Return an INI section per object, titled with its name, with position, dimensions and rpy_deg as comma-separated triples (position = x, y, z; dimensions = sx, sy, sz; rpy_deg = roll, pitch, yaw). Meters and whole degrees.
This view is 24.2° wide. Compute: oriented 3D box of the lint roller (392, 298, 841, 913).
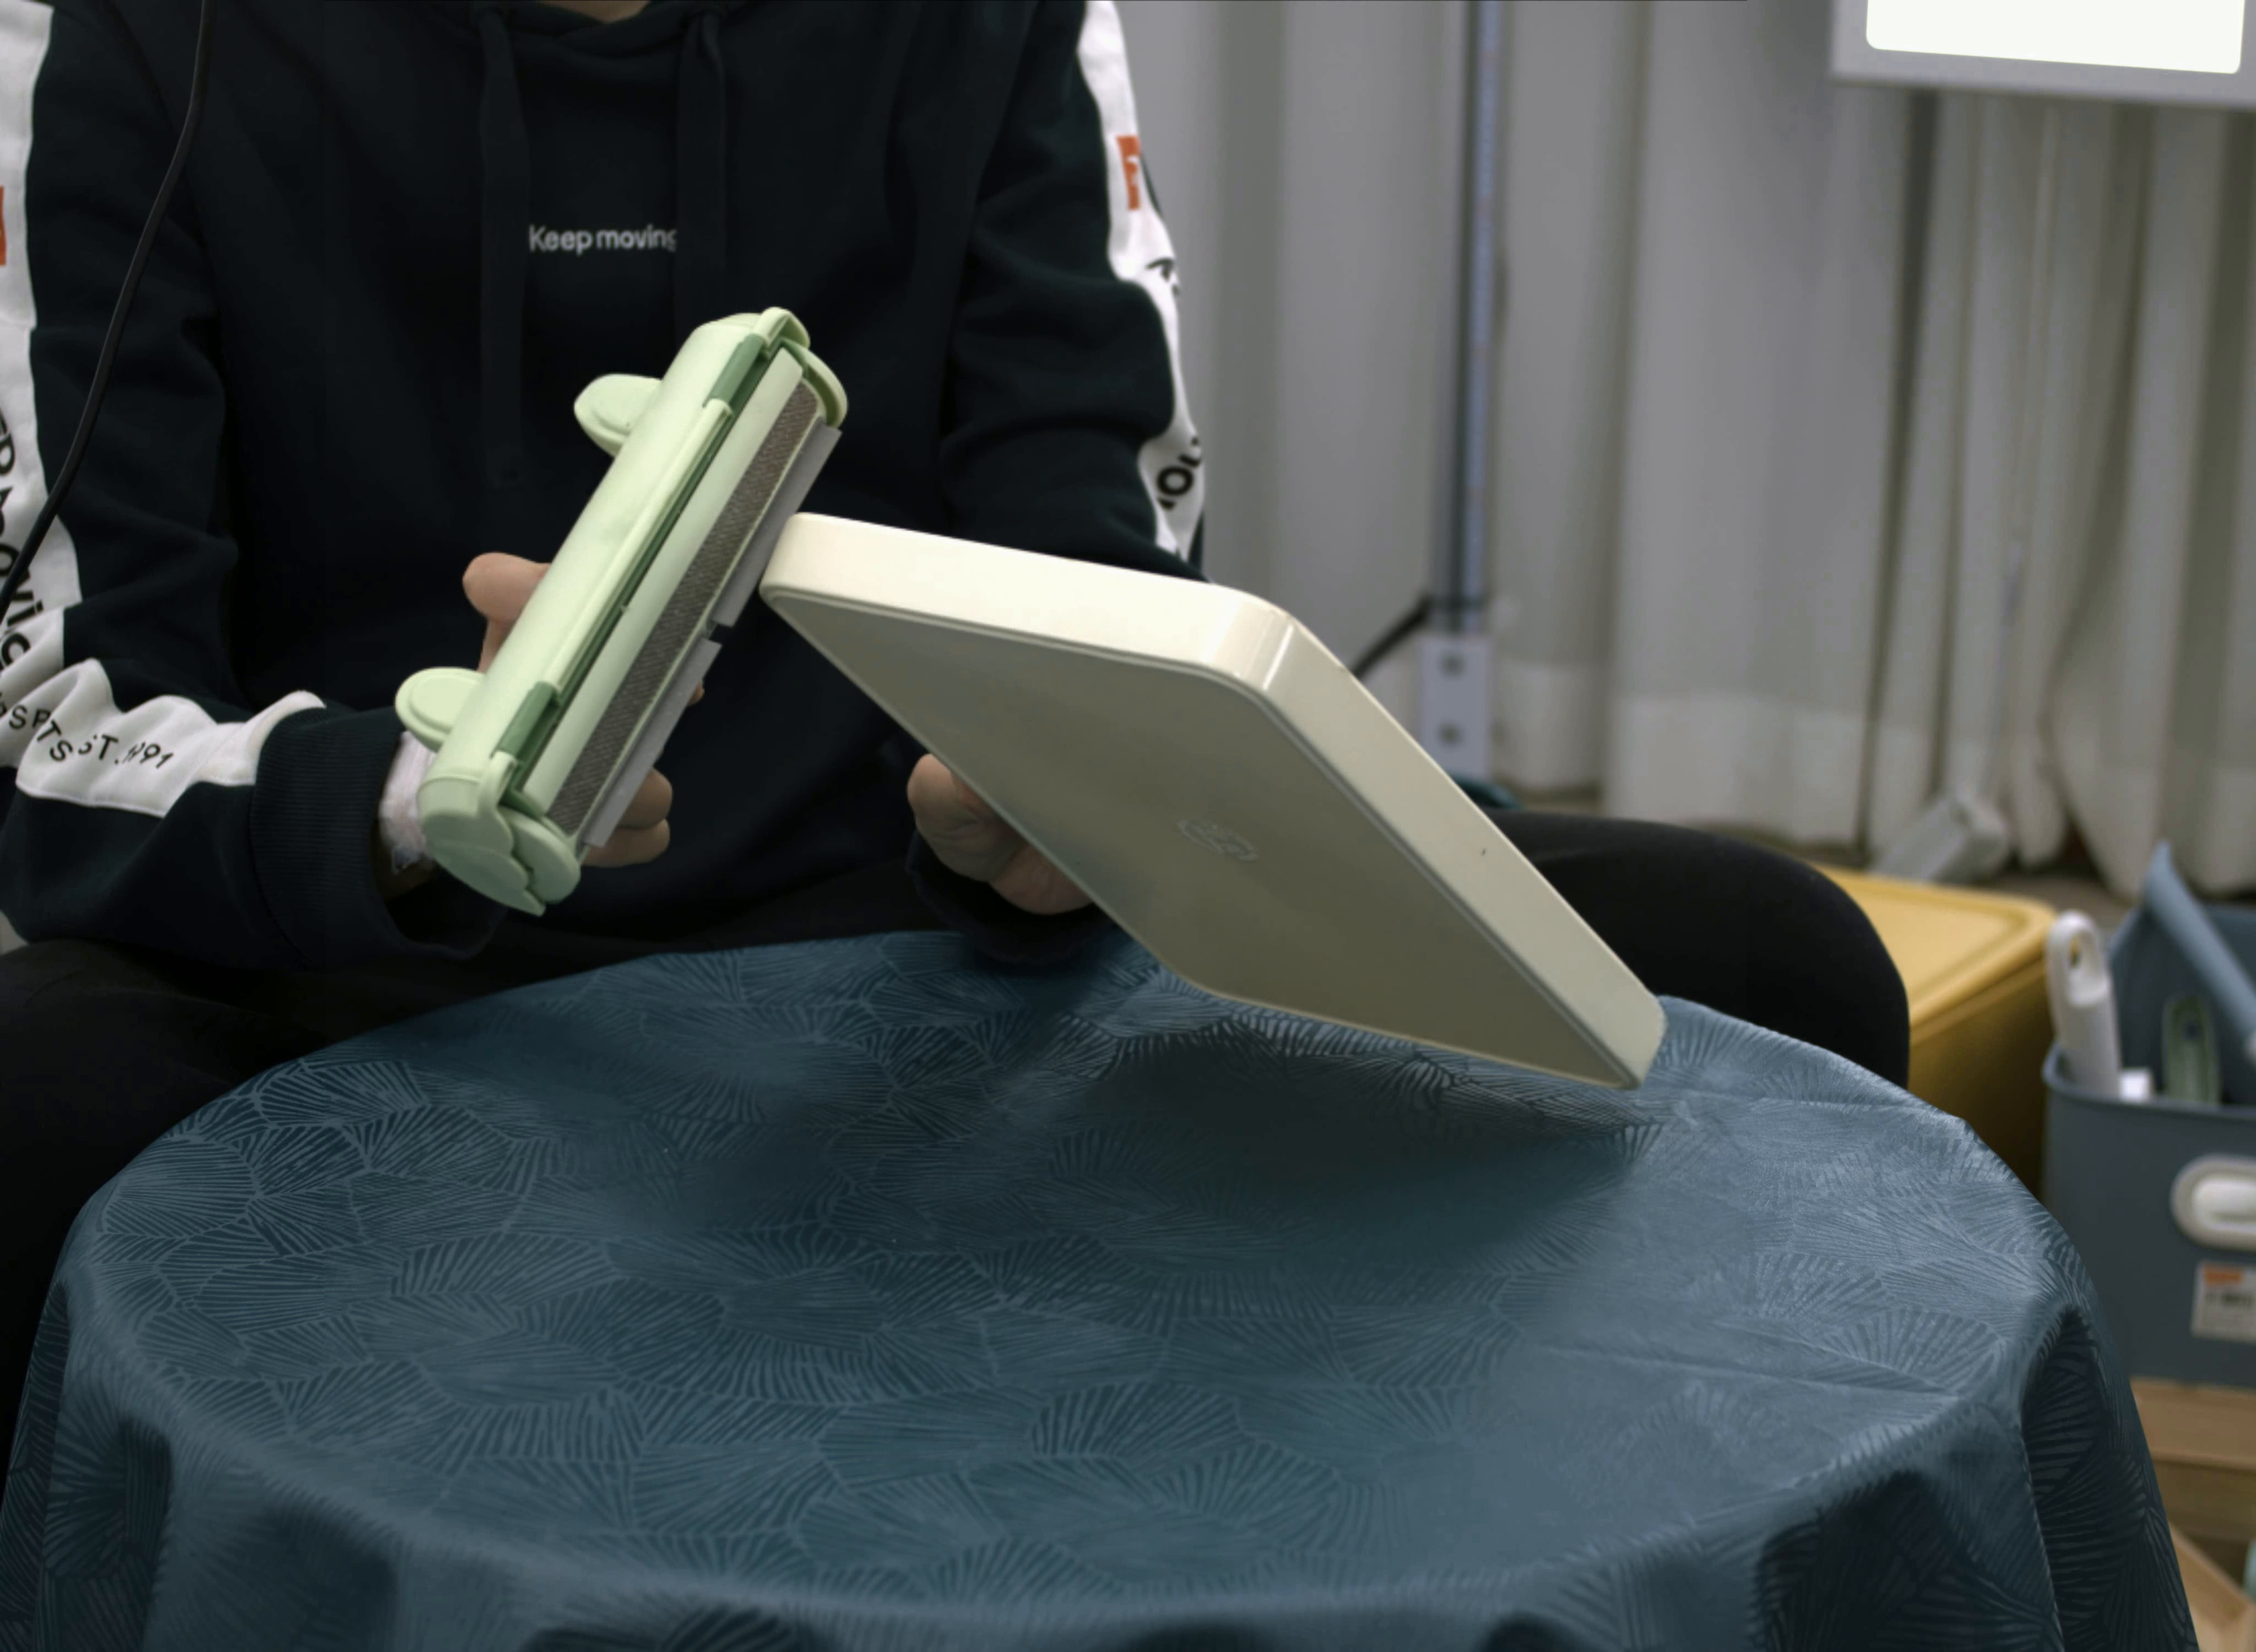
[lint roller]
position = -0.171, -0.052, 1.607
dimensions = 0.082, 0.198, 0.183
rpy_deg = 31, -28, -8

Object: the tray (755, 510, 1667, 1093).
[tray]
position = 0.030, -0.003, 1.624
dimensions = 0.189, 0.027, 0.304
rpy_deg = 12, -20, 35
